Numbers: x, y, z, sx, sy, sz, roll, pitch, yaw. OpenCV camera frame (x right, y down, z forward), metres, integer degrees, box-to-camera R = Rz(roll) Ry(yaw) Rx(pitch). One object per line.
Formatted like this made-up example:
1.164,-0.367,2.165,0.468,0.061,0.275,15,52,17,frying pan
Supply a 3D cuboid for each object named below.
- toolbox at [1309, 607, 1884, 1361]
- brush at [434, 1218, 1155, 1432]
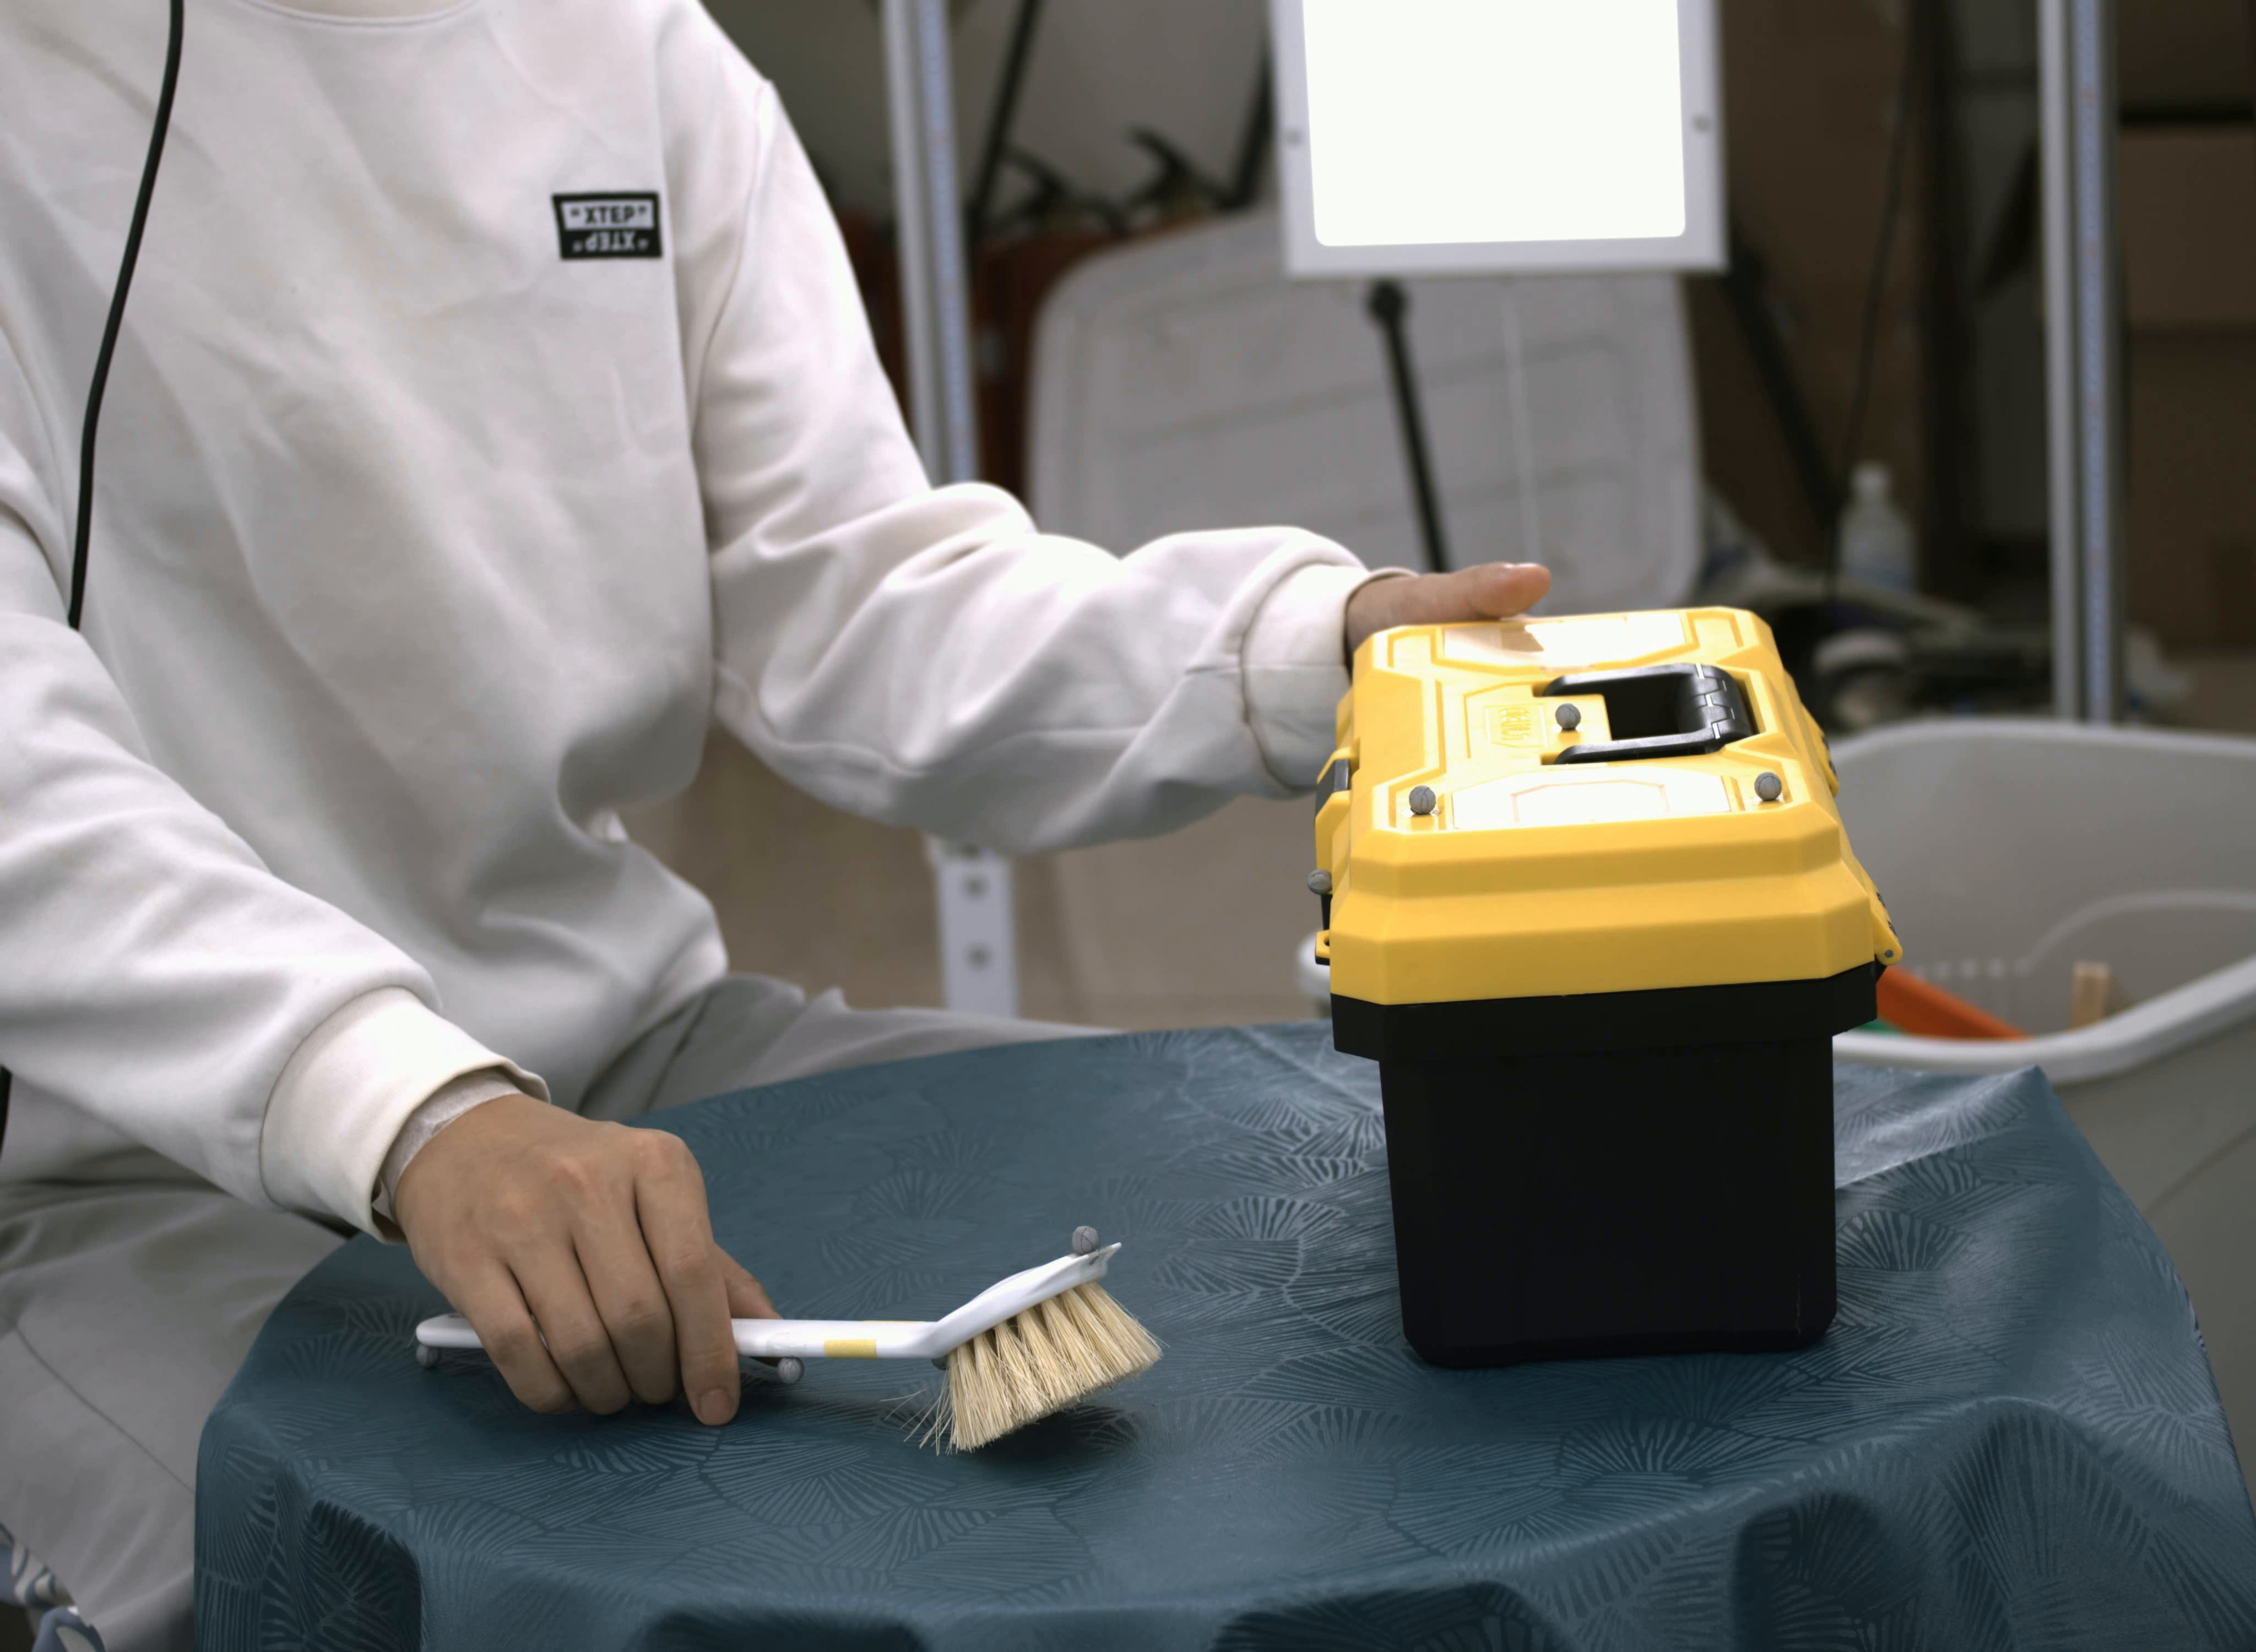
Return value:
0.152,0.044,1.812,0.181,0.173,0.349,-3,13,4,toolbox
-0.108,0.173,1.721,0.272,0.056,0.067,-15,-15,33,brush
